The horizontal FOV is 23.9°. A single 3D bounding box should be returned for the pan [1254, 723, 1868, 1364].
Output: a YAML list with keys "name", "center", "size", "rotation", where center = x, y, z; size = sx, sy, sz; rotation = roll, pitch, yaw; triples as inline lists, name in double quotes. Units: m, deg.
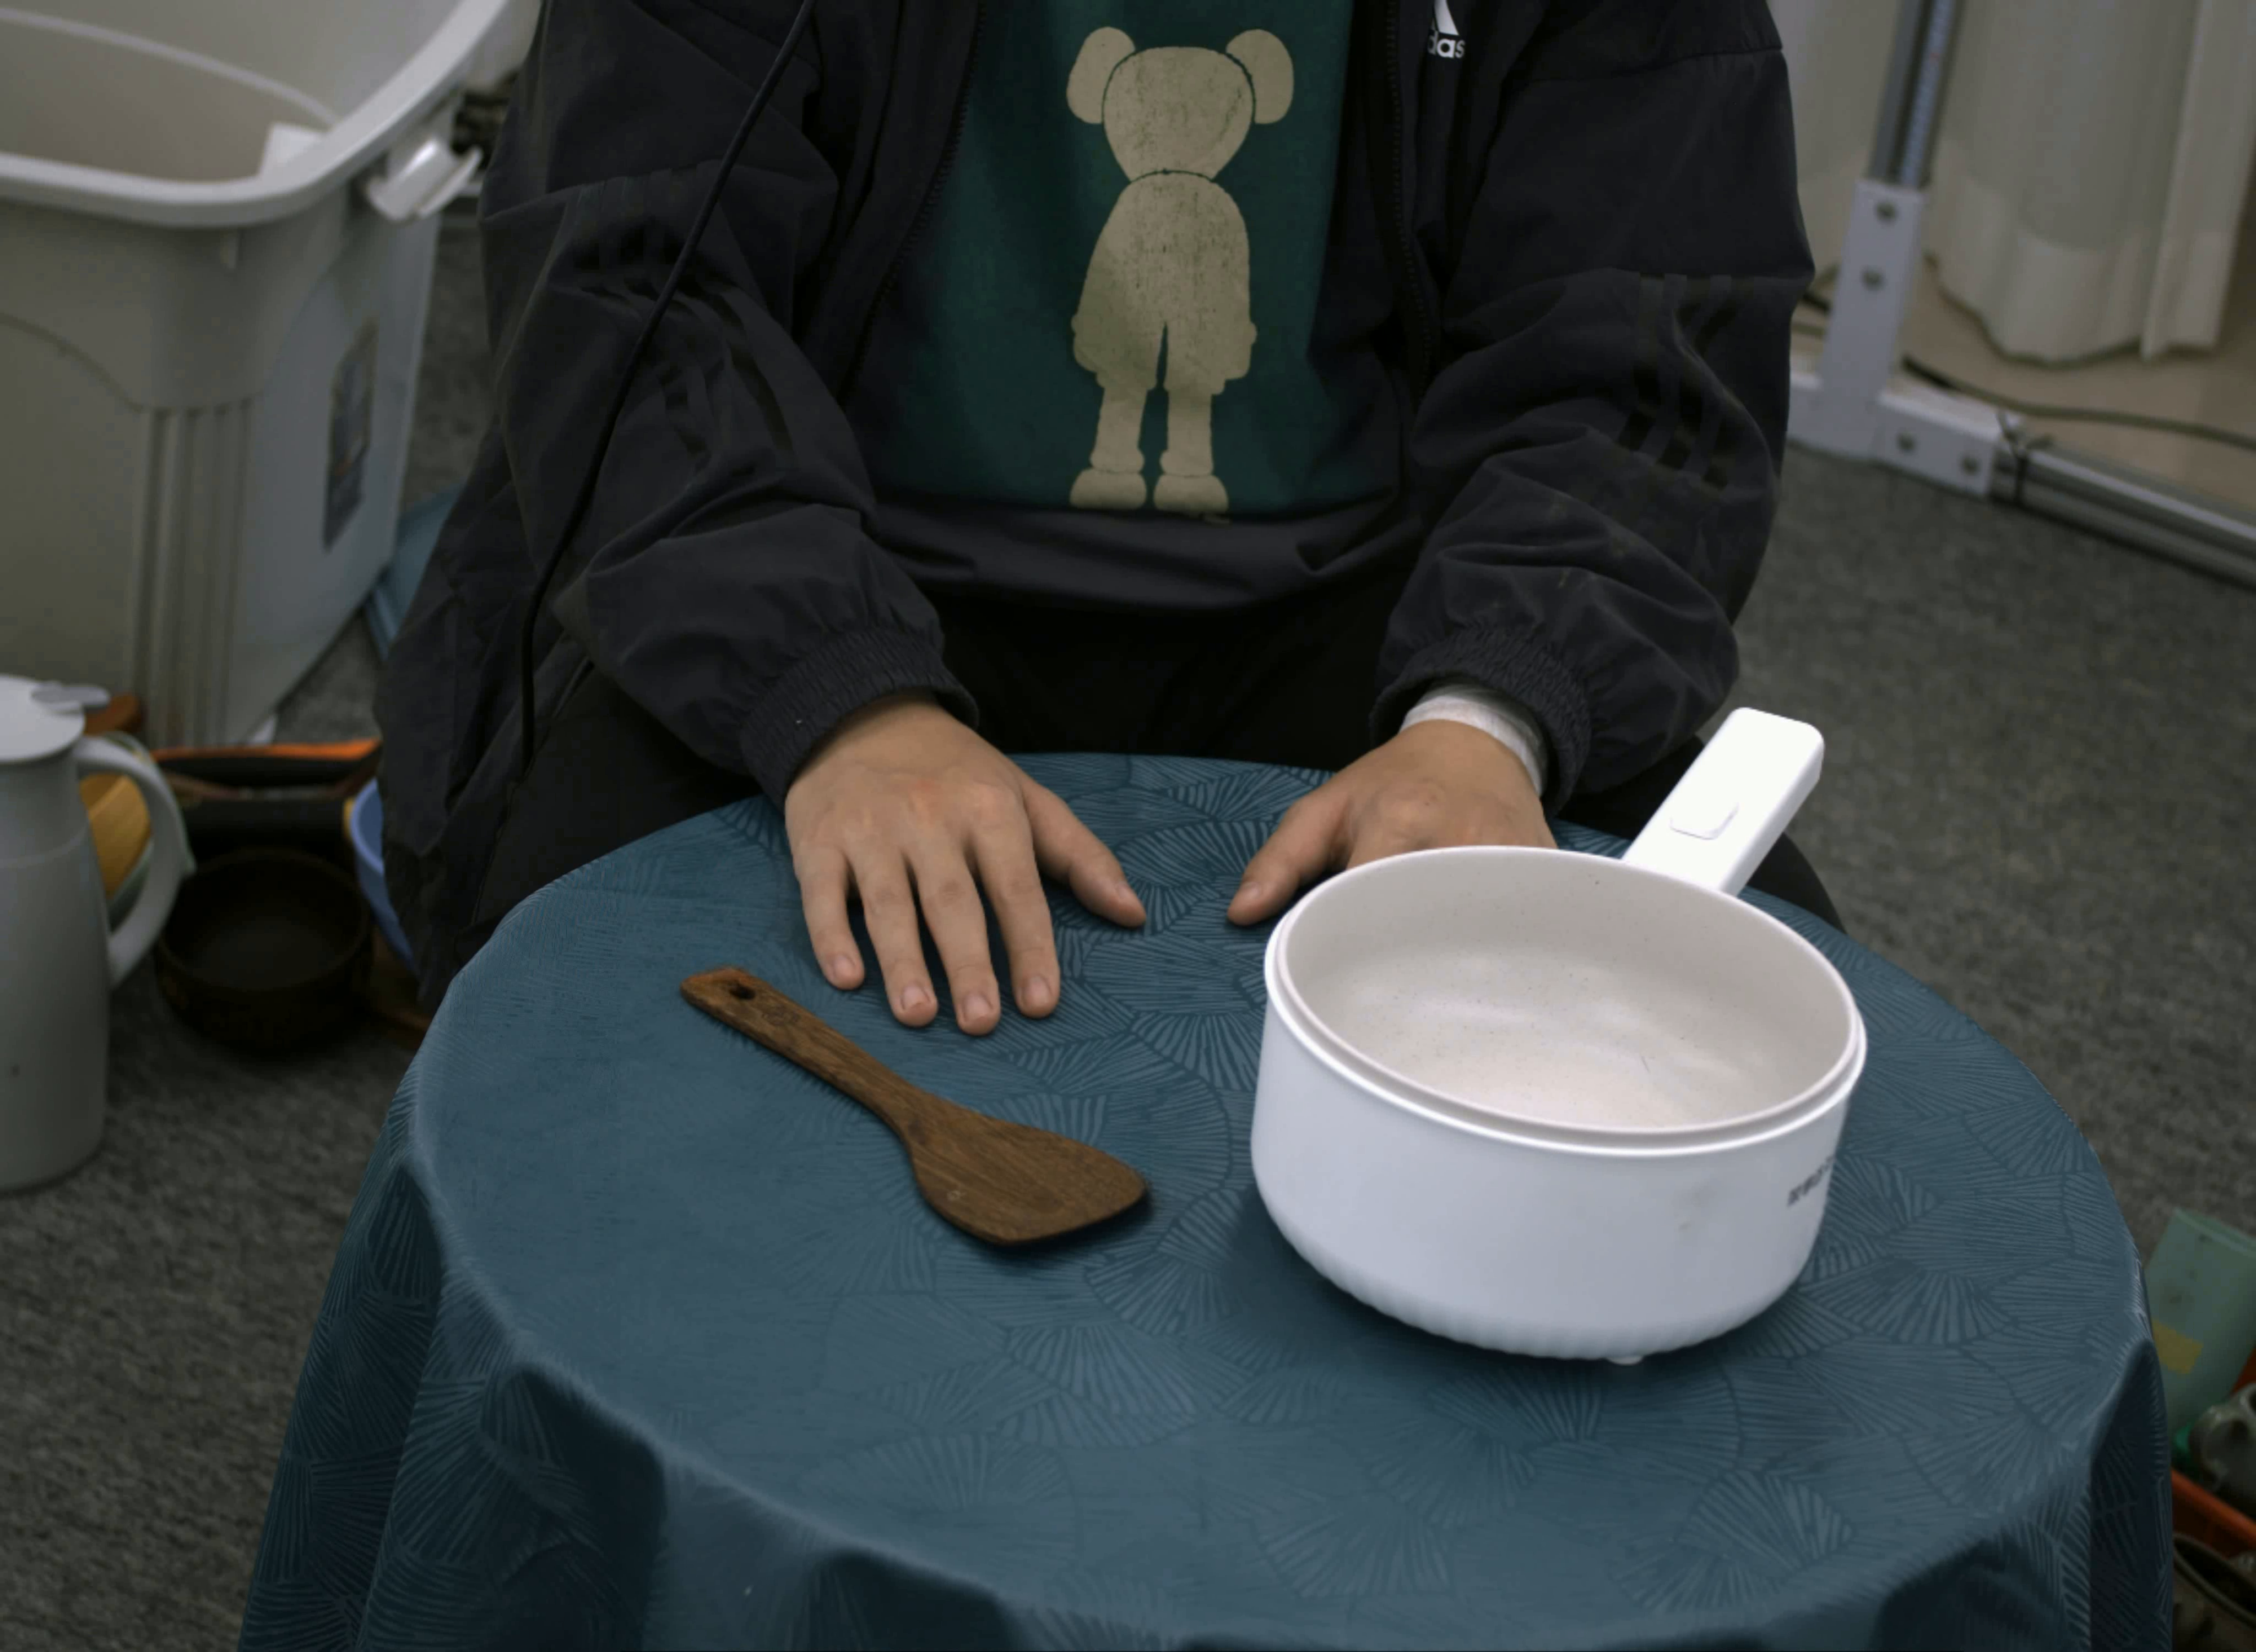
- name: "pan"
  center: [0.170, 0.069, 1.846]
  size: [0.202, 0.102, 0.355]
  rotation: [15, 26, 18]

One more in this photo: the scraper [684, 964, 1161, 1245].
- name: "scraper"
  center: [-0.080, 0.094, 1.837]
  size: [0.075, 0.011, 0.213]
  rotation: [-17, 34, -40]
